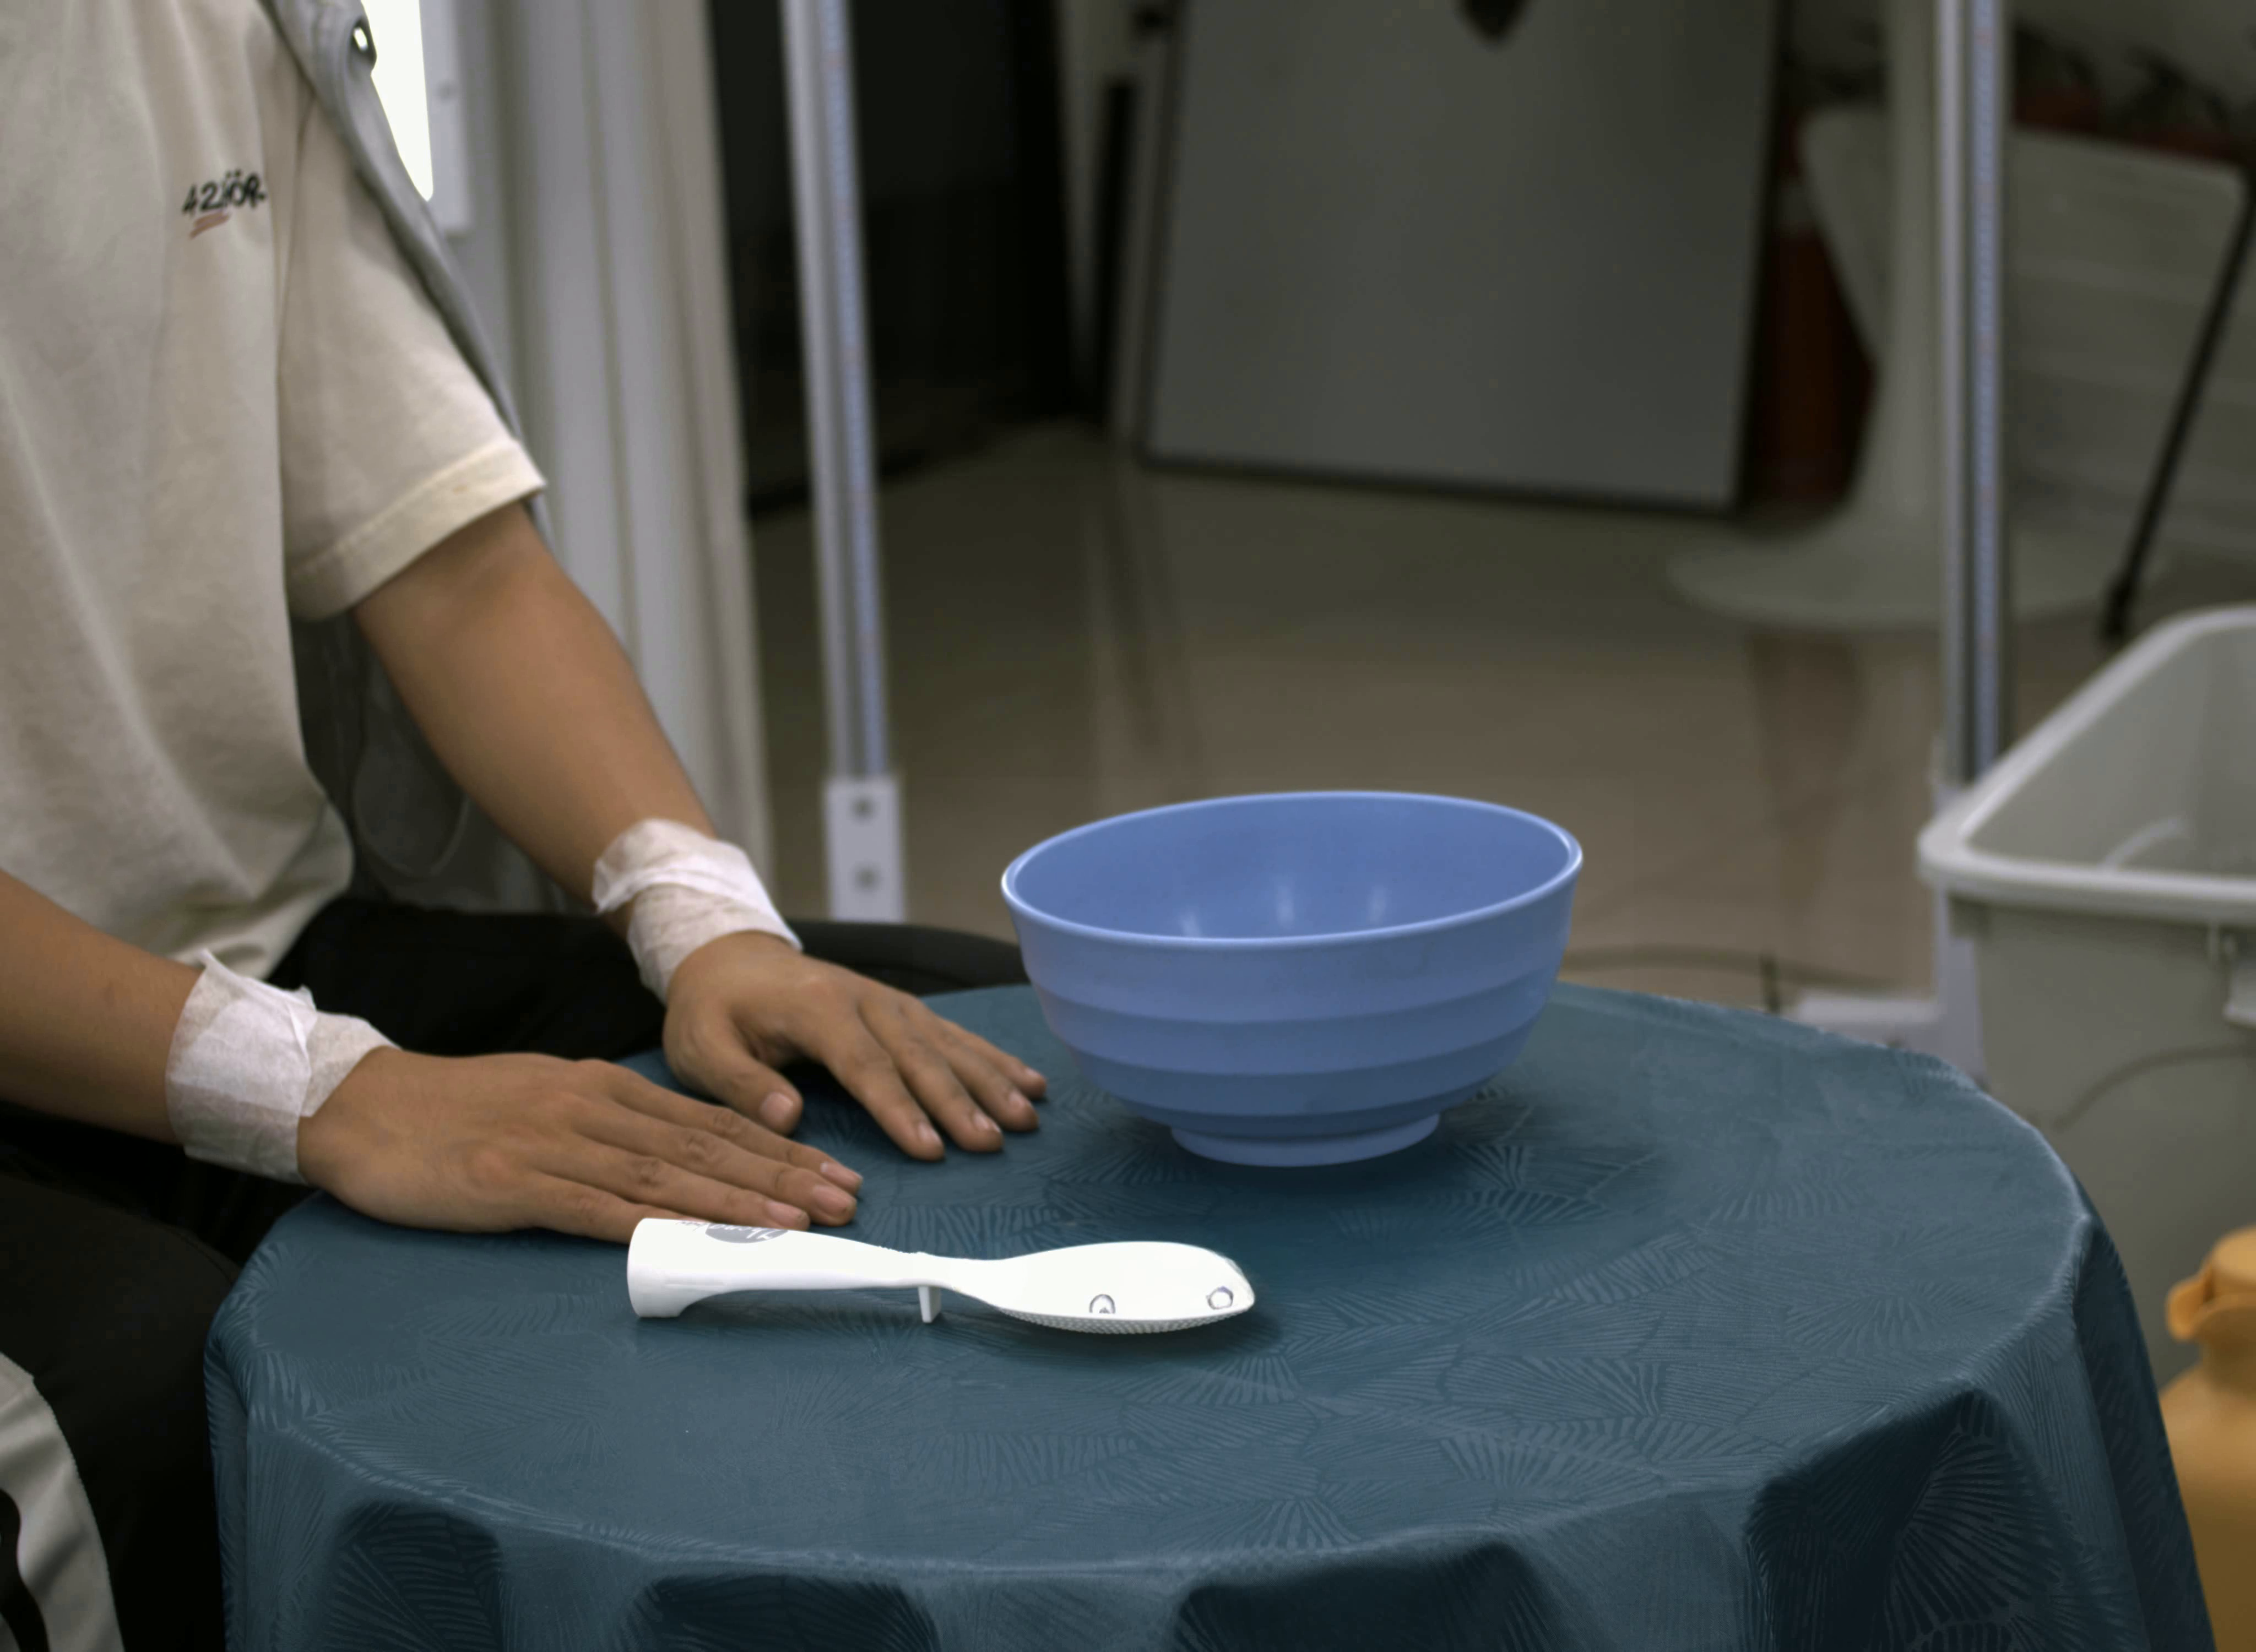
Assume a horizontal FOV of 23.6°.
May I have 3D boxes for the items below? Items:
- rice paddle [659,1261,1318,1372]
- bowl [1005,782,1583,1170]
[{"bbox_3d":[-0.042,0.143,1.656,0.203,0.030,0.068,-6,0,8],"label":"rice paddle"},{"bbox_3d":[0.057,0.056,1.818,0.194,0.096,0.197,-3,15,0],"label":"bowl"}]
